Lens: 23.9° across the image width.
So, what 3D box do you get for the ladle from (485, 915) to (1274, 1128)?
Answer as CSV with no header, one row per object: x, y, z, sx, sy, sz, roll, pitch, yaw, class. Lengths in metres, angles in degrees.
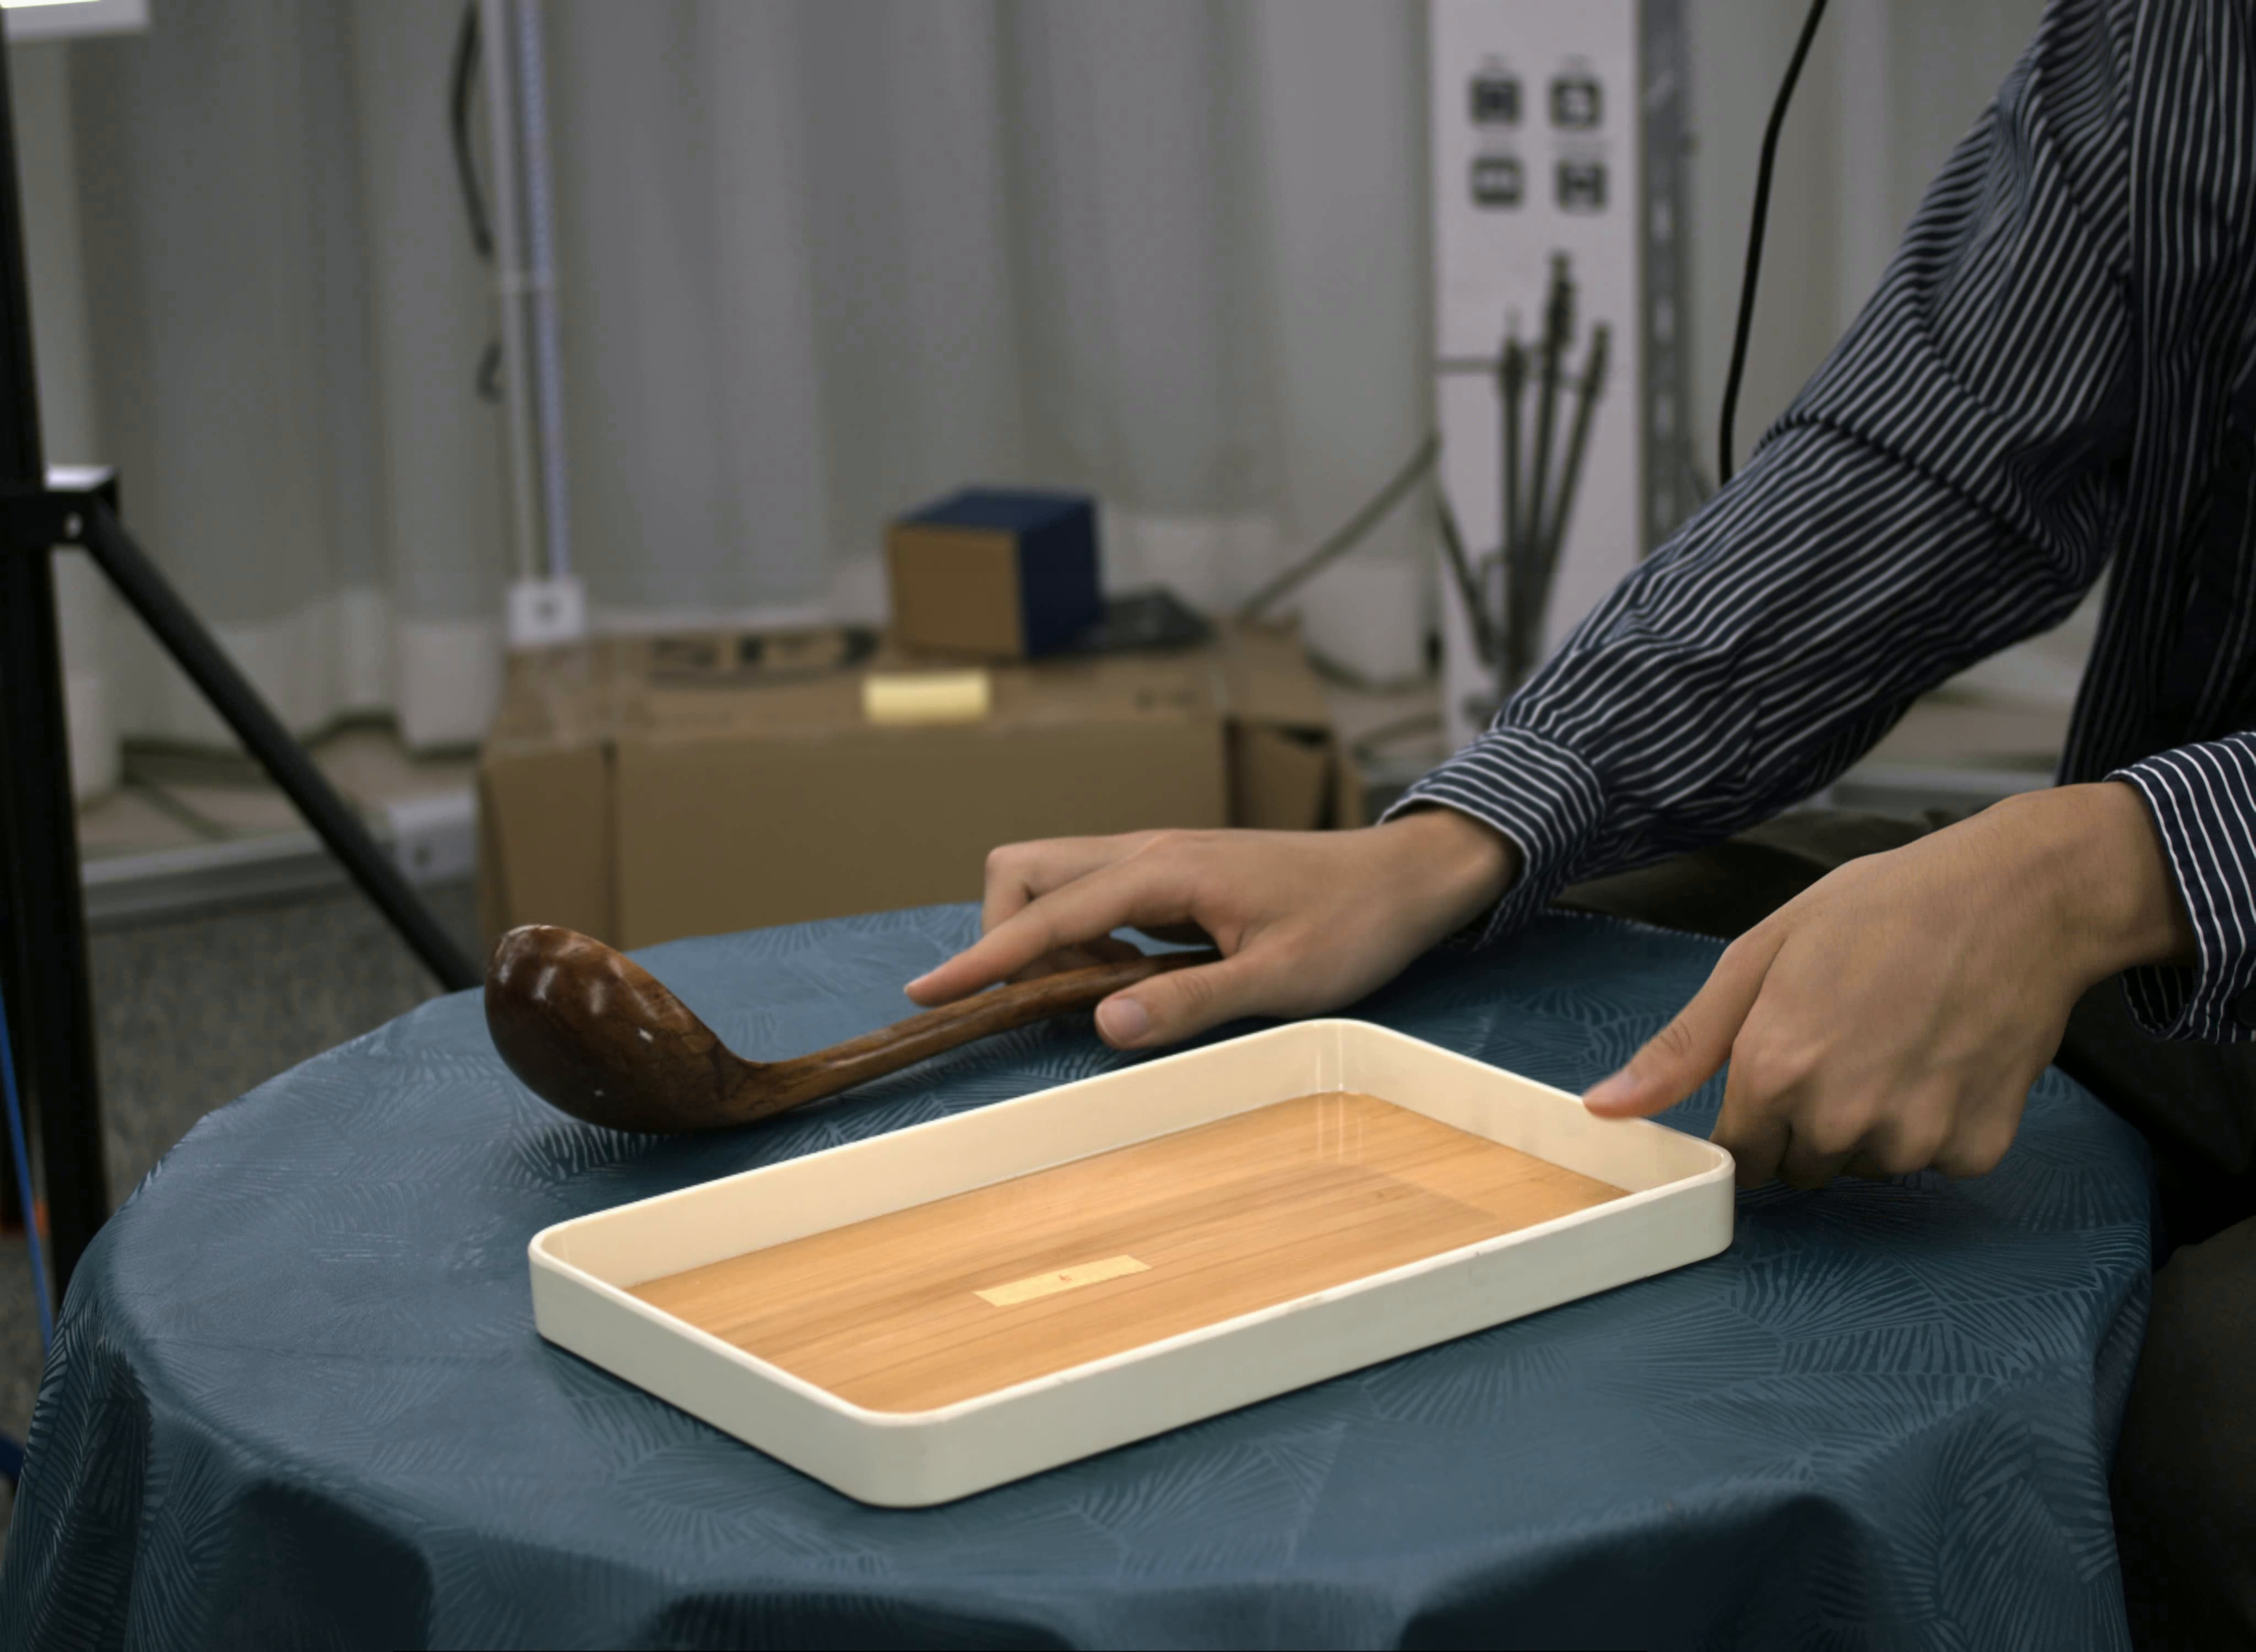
-0.075,0.040,1.674,0.268,0.077,0.083,-14,2,-32,ladle

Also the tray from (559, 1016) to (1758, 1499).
0.011,0.116,1.489,0.293,0.027,0.196,-13,19,-33,tray
